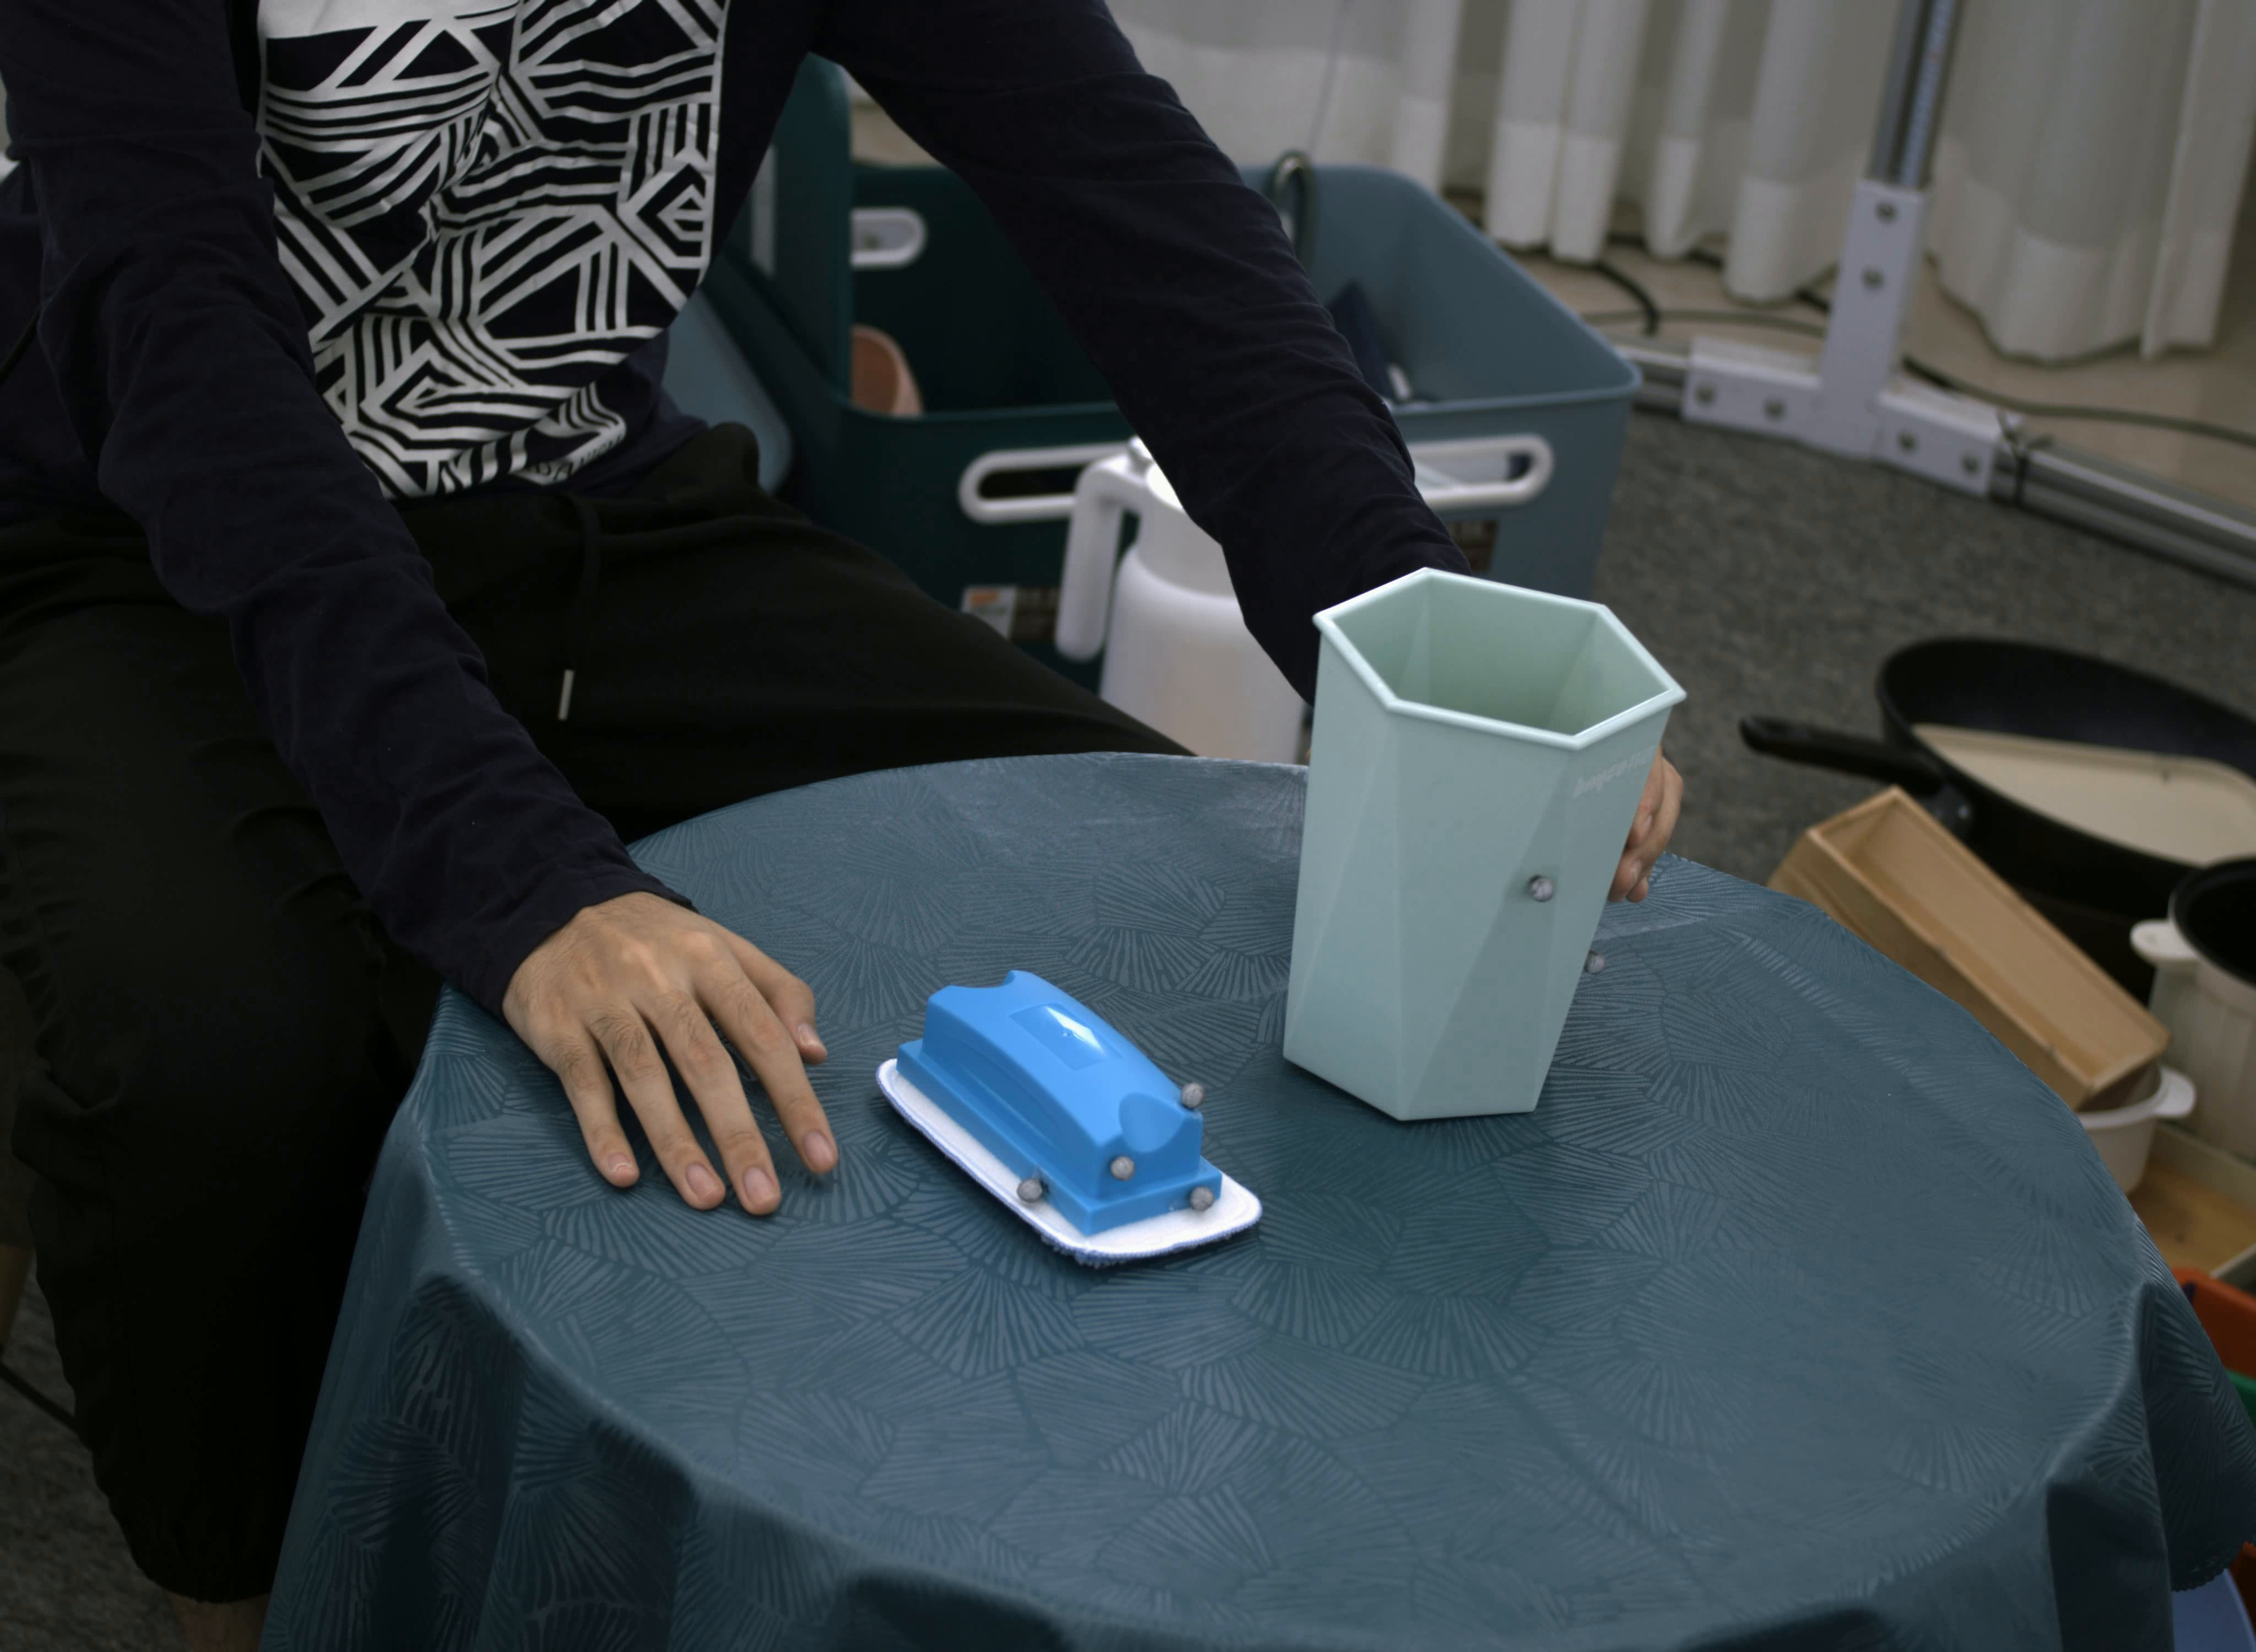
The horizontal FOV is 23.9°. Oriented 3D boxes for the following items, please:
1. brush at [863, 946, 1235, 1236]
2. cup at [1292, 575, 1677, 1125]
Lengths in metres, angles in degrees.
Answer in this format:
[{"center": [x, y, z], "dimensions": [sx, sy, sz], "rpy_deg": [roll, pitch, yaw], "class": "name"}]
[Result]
[{"center": [-0.024, 0.086, 1.809], "dimensions": [0.083, 0.056, 0.145], "rpy_deg": [-8, 33, -32], "class": "brush"}, {"center": [0.117, 0.011, 1.871], "dimensions": [0.116, 0.162, 0.130], "rpy_deg": [24, 30, 31], "class": "cup"}]
